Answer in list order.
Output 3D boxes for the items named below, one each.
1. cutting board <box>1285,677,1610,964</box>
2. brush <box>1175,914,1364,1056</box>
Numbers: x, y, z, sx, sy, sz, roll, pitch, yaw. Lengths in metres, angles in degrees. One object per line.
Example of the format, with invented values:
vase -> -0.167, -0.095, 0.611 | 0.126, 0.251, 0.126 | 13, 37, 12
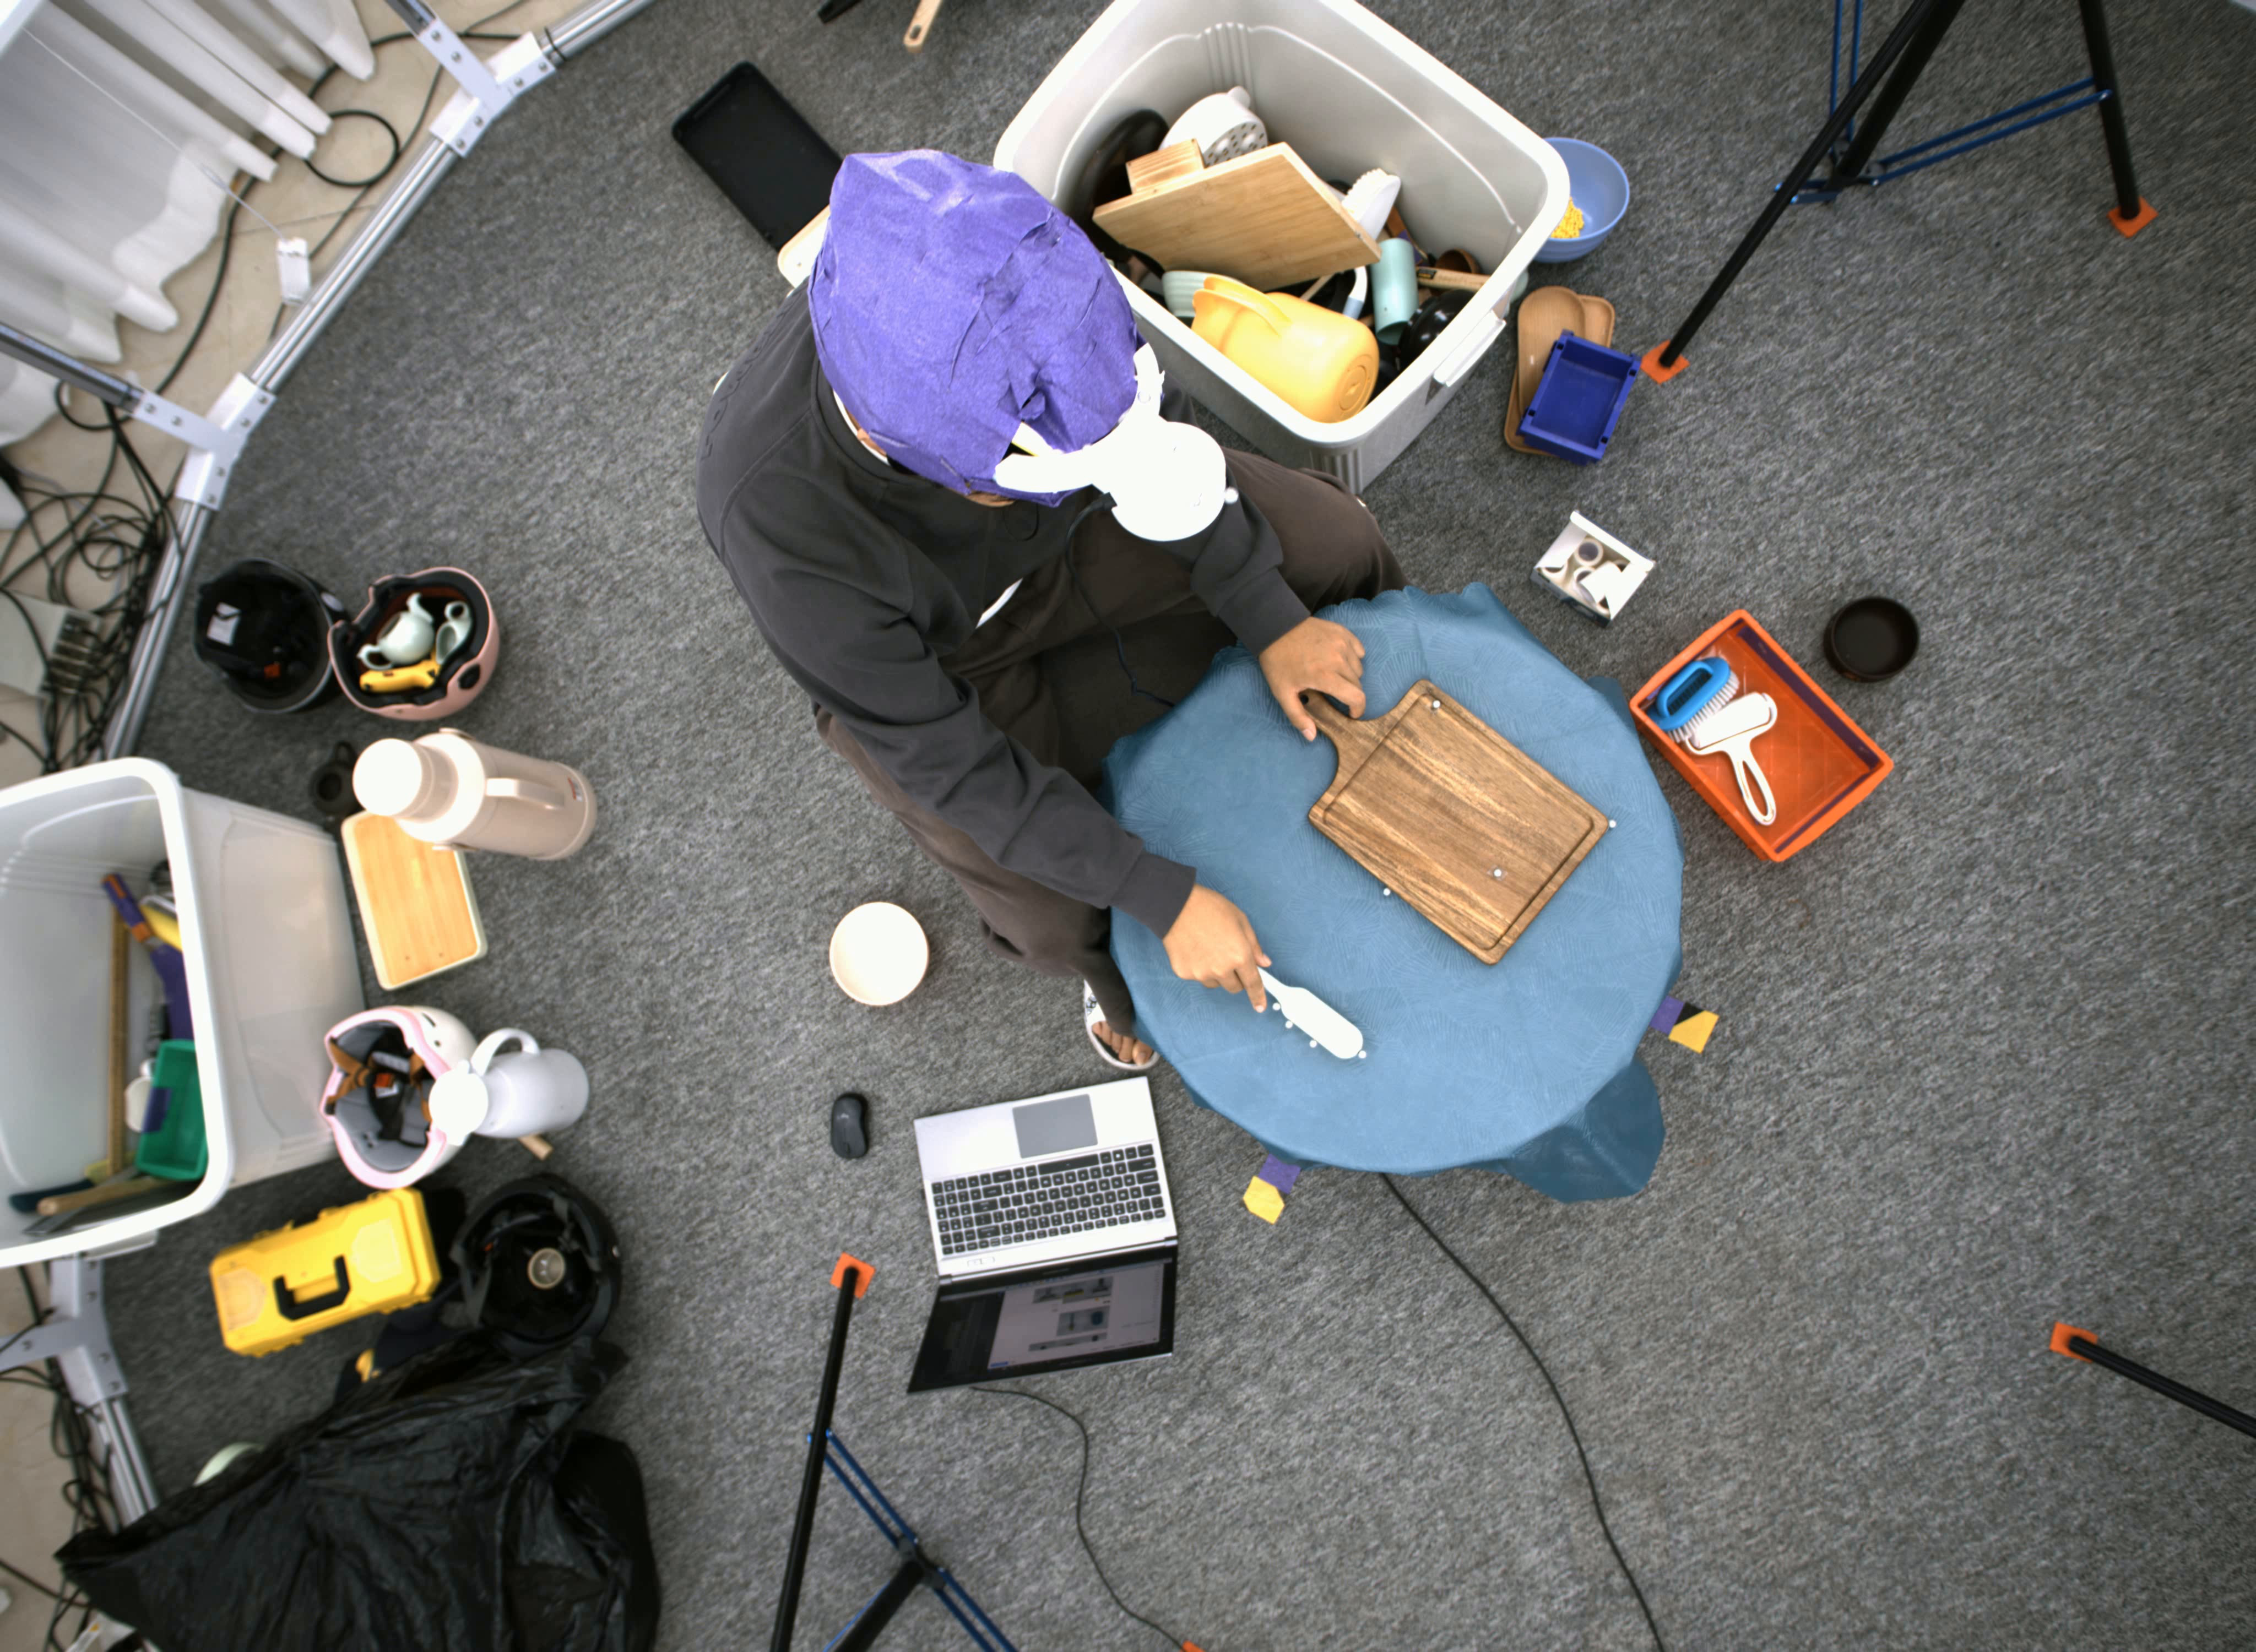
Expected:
cutting board -> 0.308, -0.041, 1.450 | 0.351, 0.023, 0.201 | 40, 94, 11
brush -> 0.146, 0.164, 1.444 | 0.229, 0.049, 0.038 | 34, 90, -1
